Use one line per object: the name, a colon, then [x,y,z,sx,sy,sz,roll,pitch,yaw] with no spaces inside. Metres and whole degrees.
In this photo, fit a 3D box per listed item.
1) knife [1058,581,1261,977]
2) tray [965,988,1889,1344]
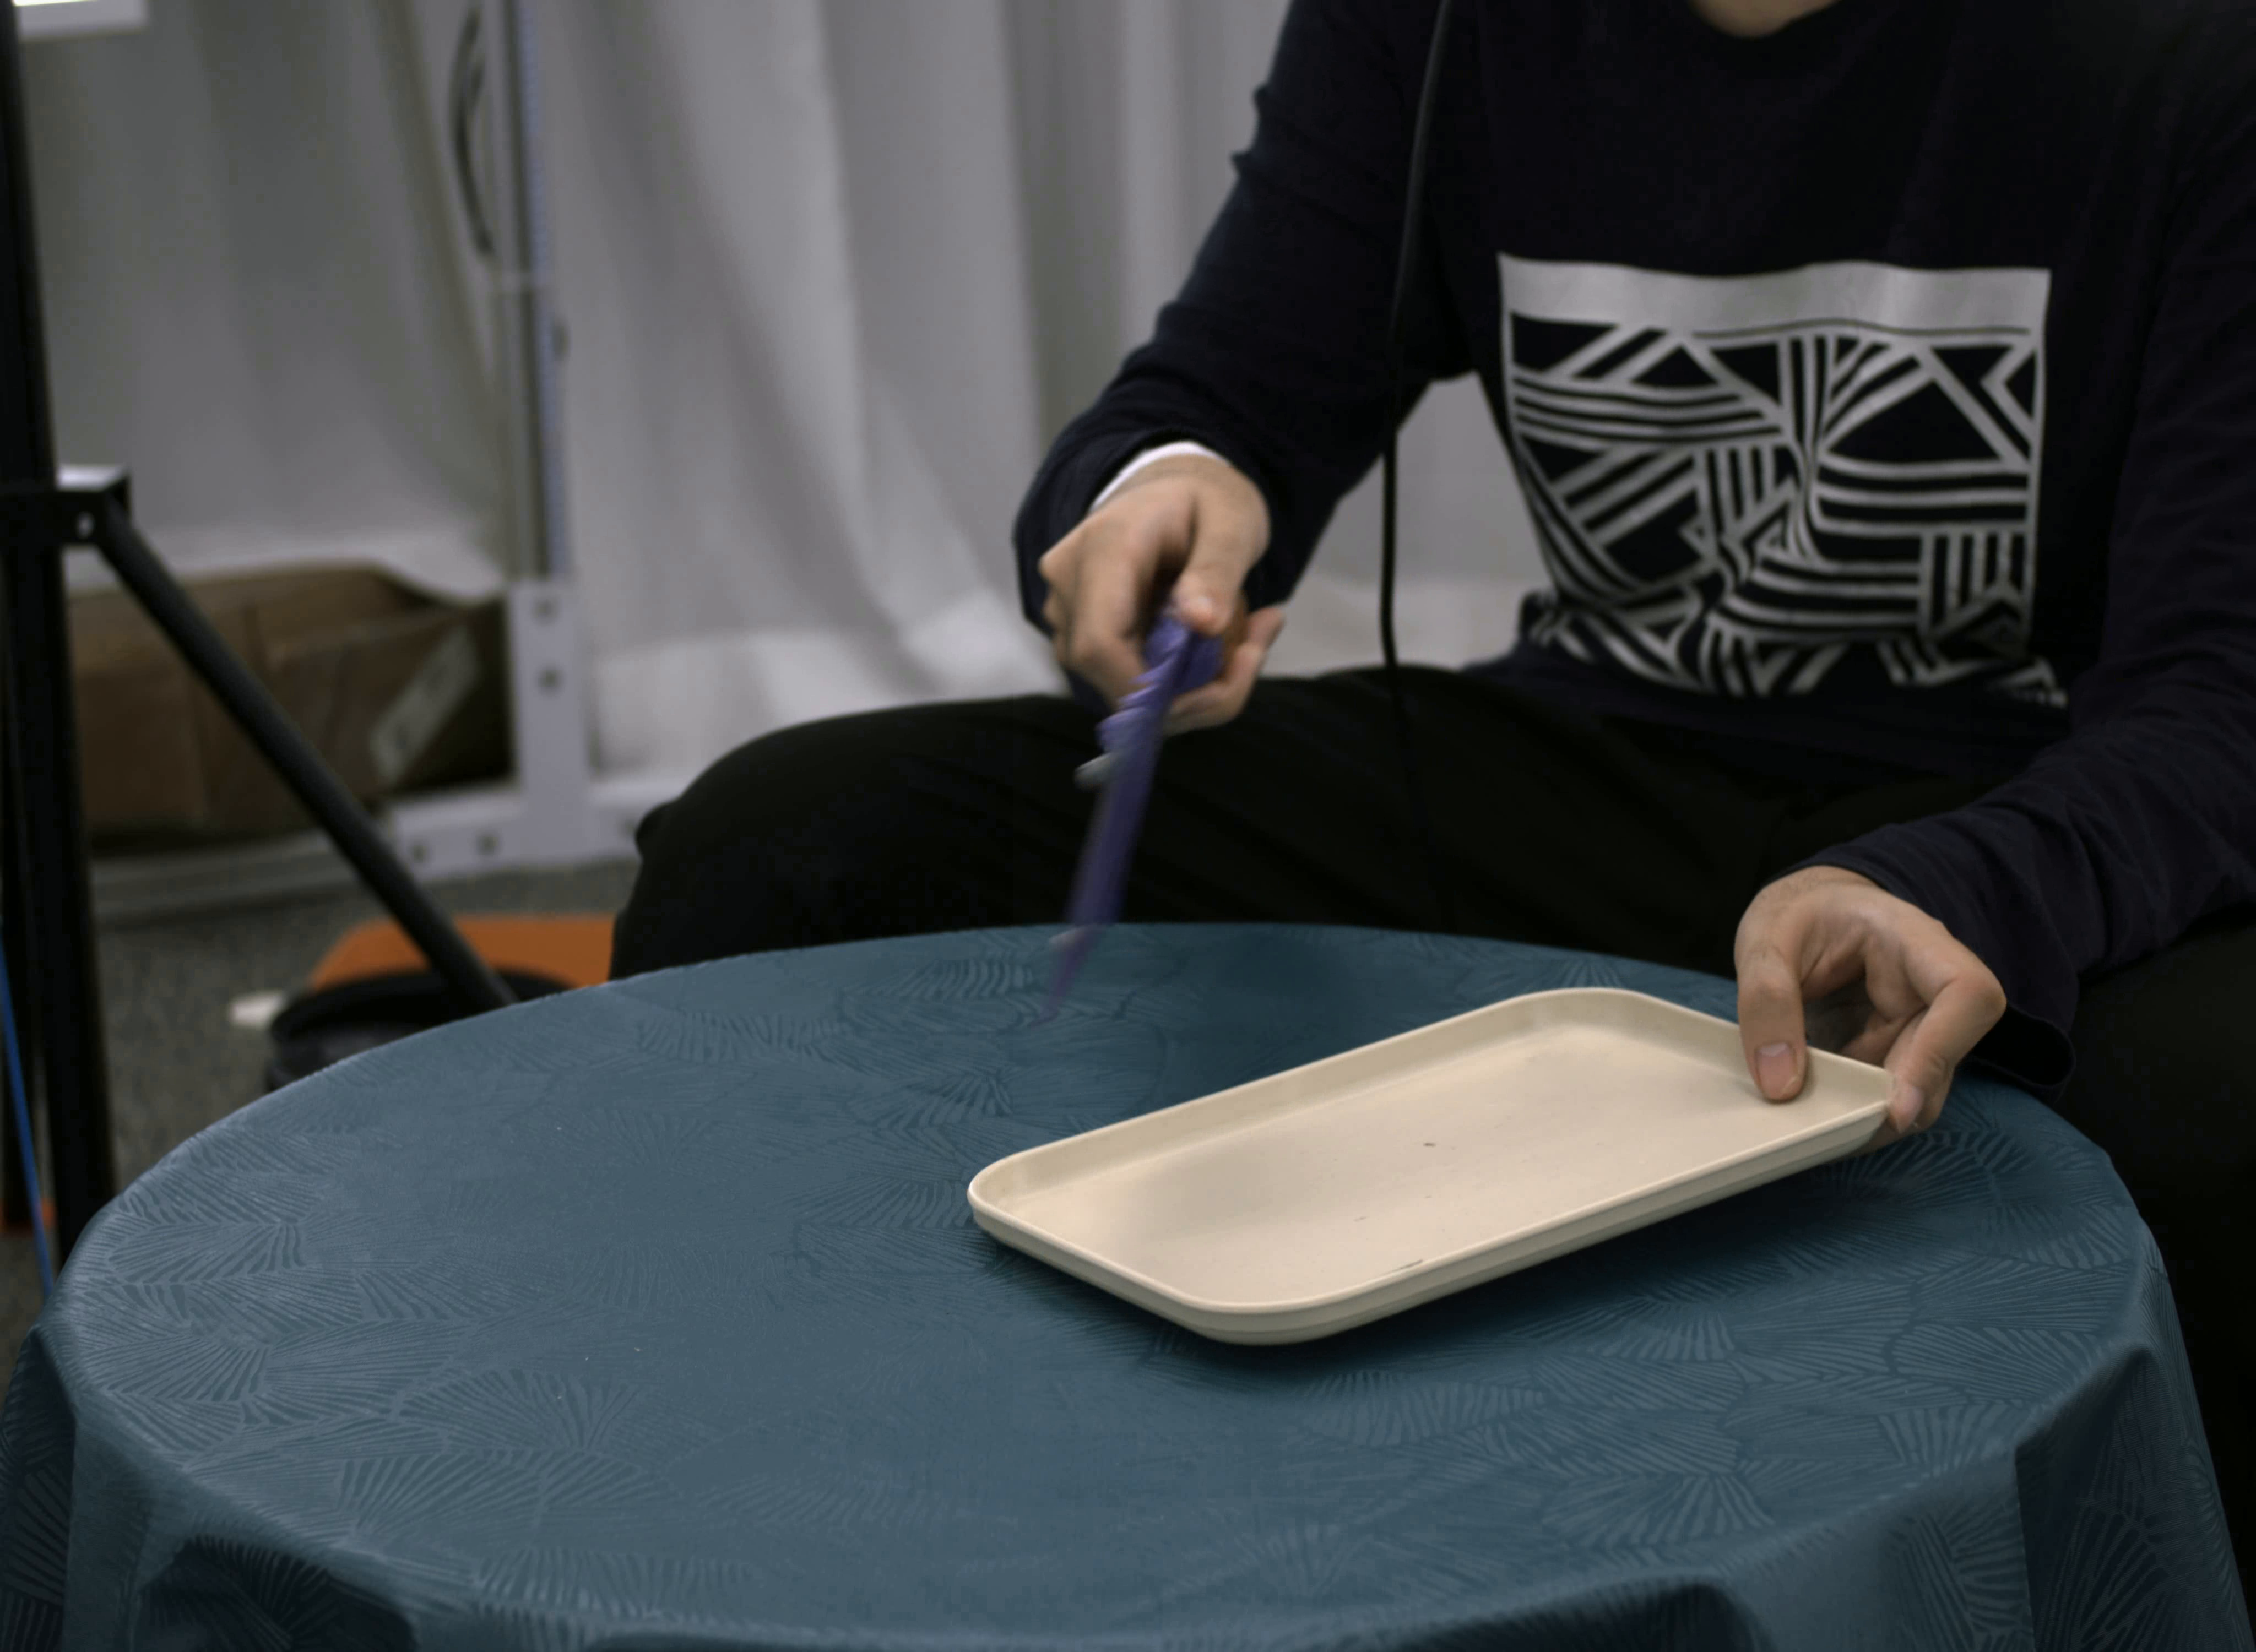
knife: [0.006,-0.017,1.637,0.032,0.104,0.314,16,10,4]
tray: [0.086,0.097,1.524,0.235,0.017,0.175,-15,17,-26]
